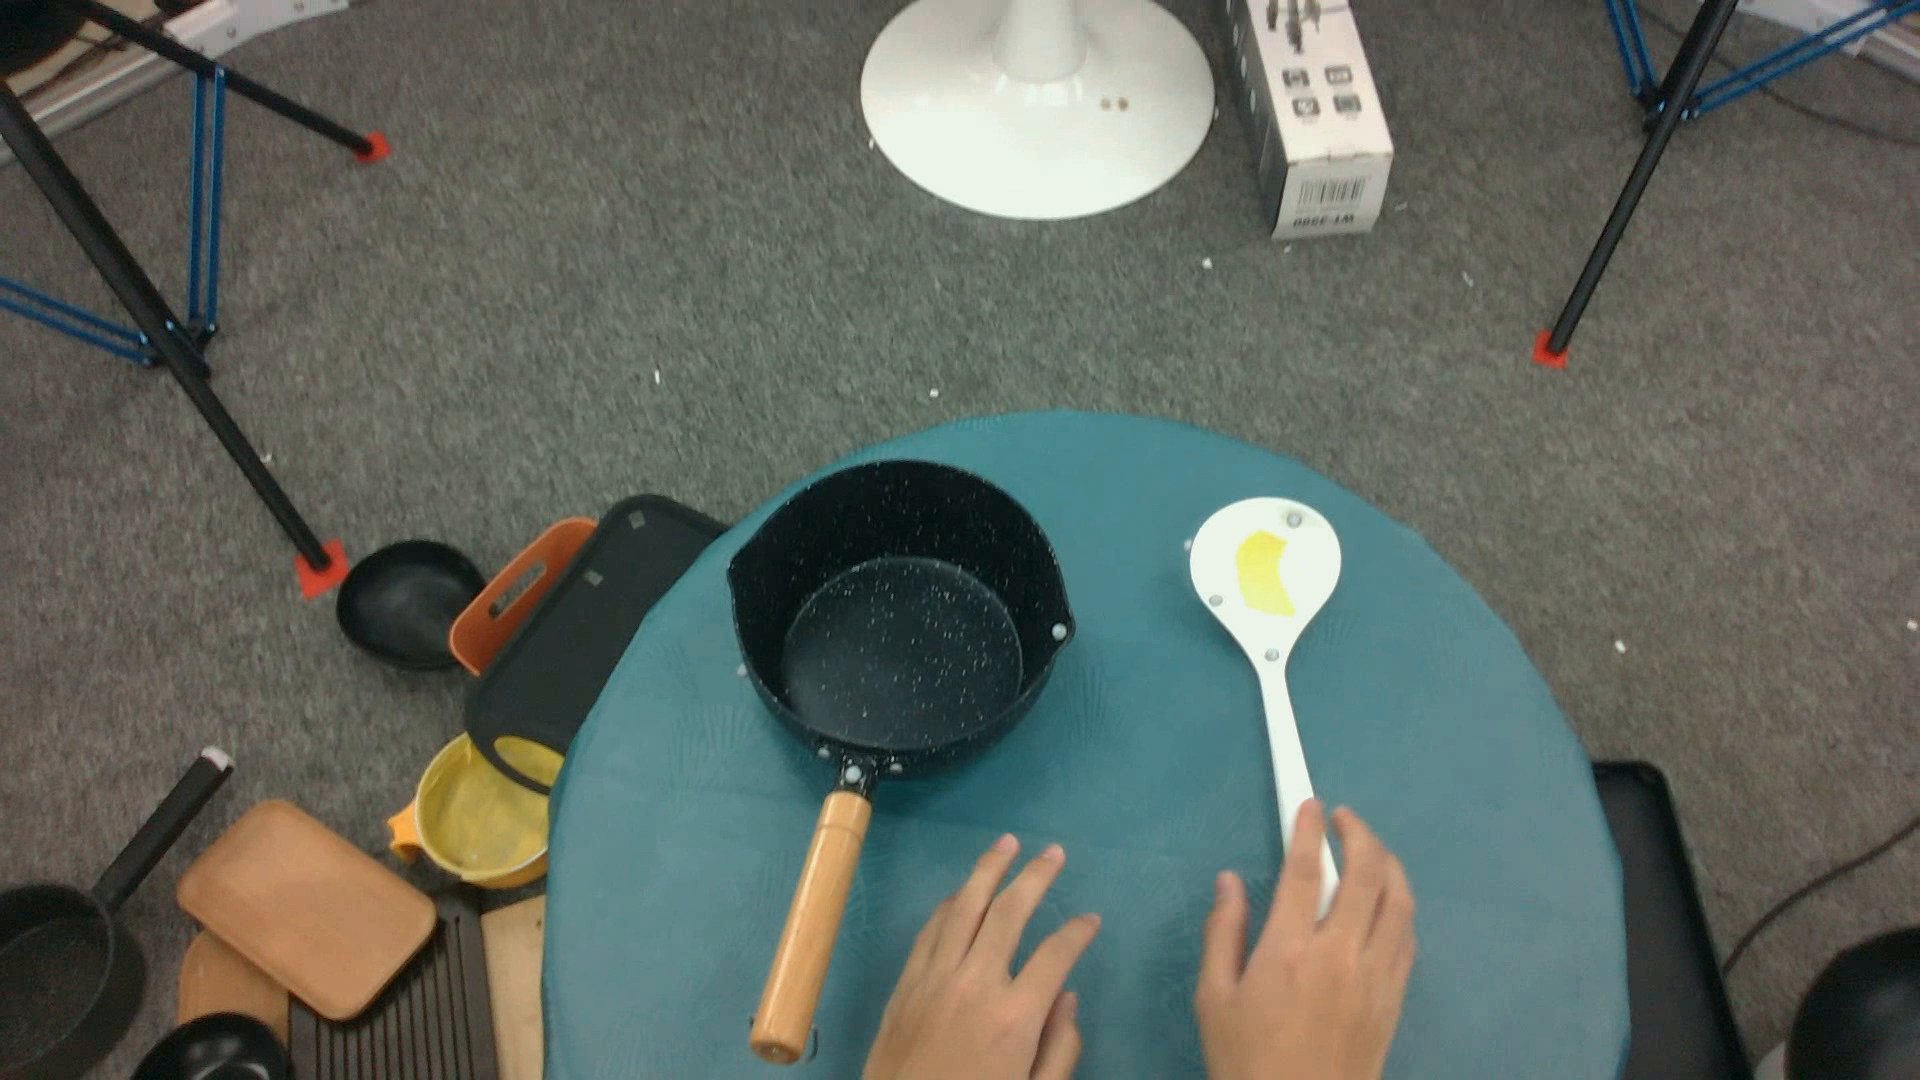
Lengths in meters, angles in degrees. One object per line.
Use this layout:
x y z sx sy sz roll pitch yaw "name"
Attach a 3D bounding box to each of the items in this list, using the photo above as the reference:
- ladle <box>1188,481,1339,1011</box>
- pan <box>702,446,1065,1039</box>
0.182 0.108 0.780 0.090 0.069 0.294 1 59 -2 "ladle"
-0.056 0.106 0.746 0.207 0.108 0.344 9 57 3 "pan"
